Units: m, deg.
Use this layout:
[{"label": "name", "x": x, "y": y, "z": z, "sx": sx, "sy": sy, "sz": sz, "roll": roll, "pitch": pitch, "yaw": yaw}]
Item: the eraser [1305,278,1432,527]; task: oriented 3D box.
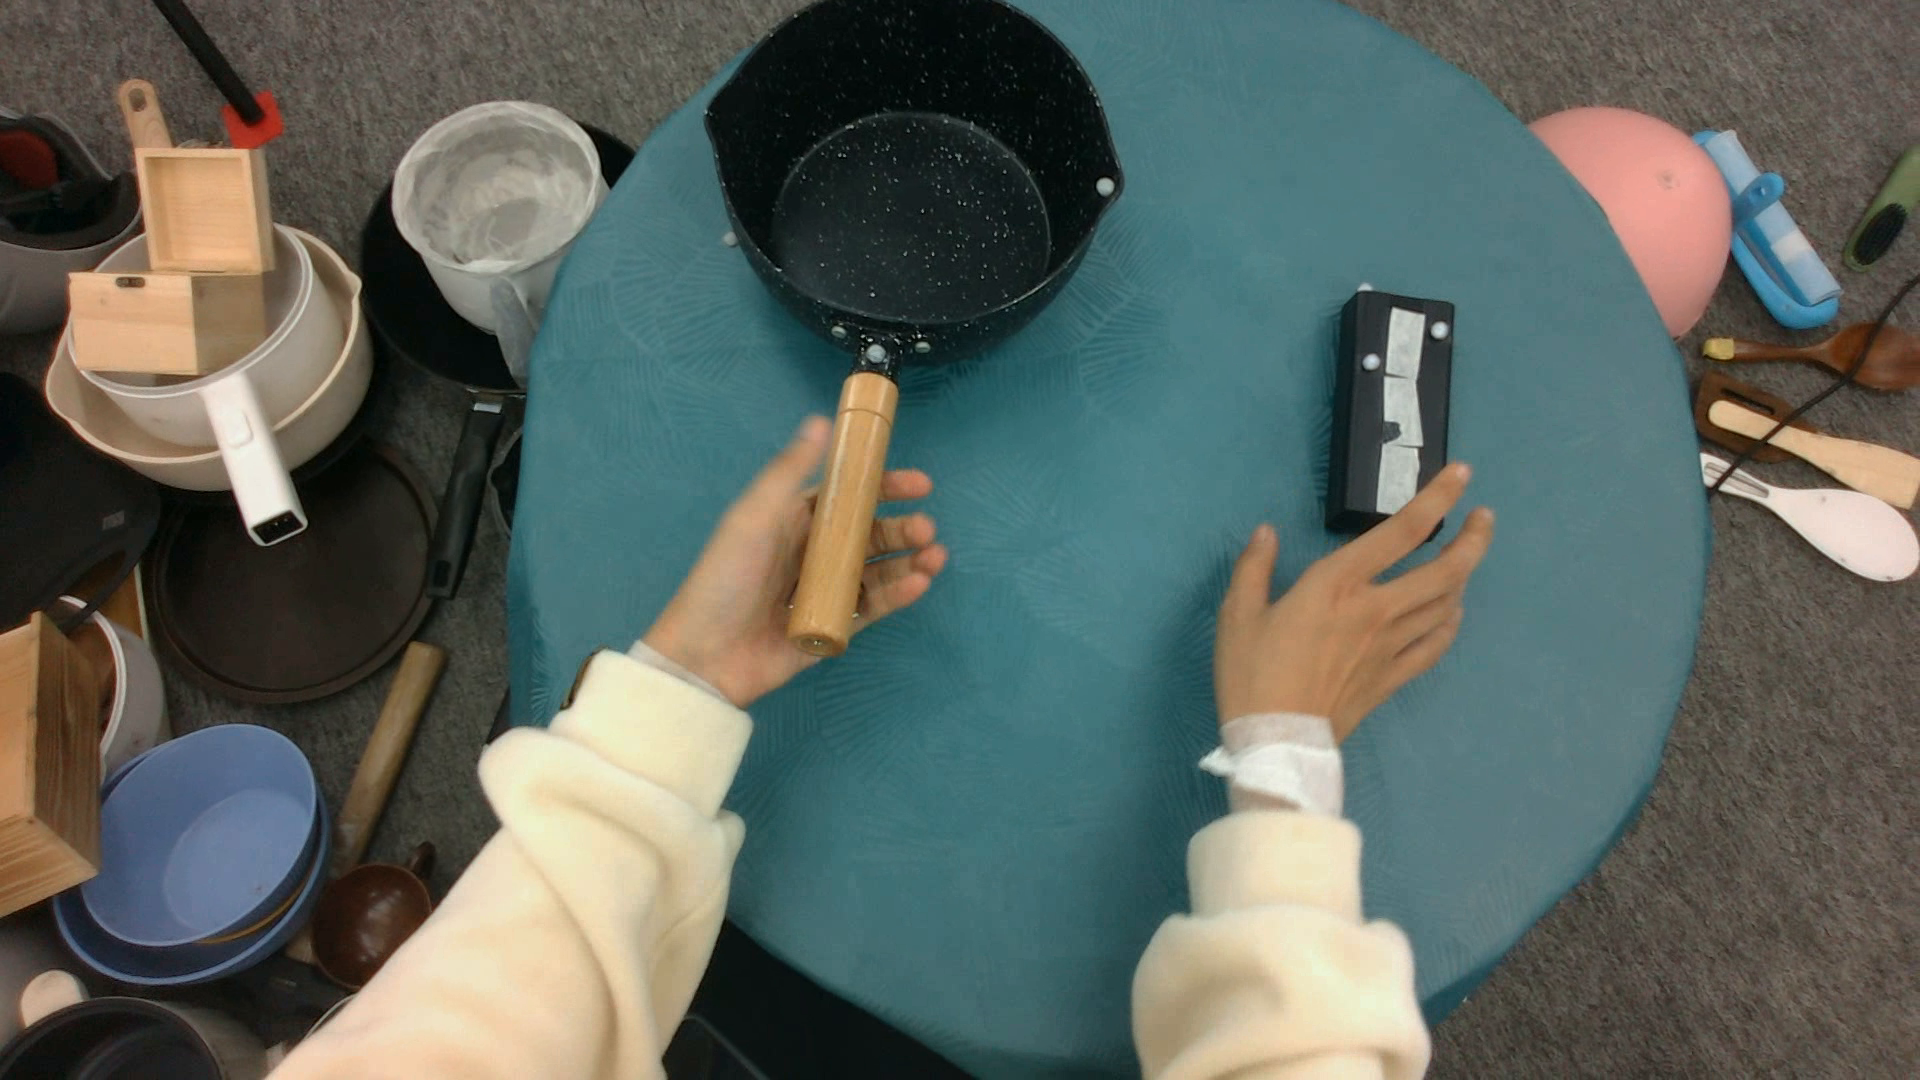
[{"label": "eraser", "x": 0.207, "y": -0.071, "z": 0.697, "sx": 0.053, "sy": 0.030, "sz": 0.126, "roll": 9, "pitch": 73, "yaw": 0}]

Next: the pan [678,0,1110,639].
[{"label": "pan", "x": -0.042, "y": -0.107, "z": 0.649, "sx": 0.207, "sy": 0.108, "sz": 0.344, "roll": 8, "pitch": 70, "yaw": -2}]
